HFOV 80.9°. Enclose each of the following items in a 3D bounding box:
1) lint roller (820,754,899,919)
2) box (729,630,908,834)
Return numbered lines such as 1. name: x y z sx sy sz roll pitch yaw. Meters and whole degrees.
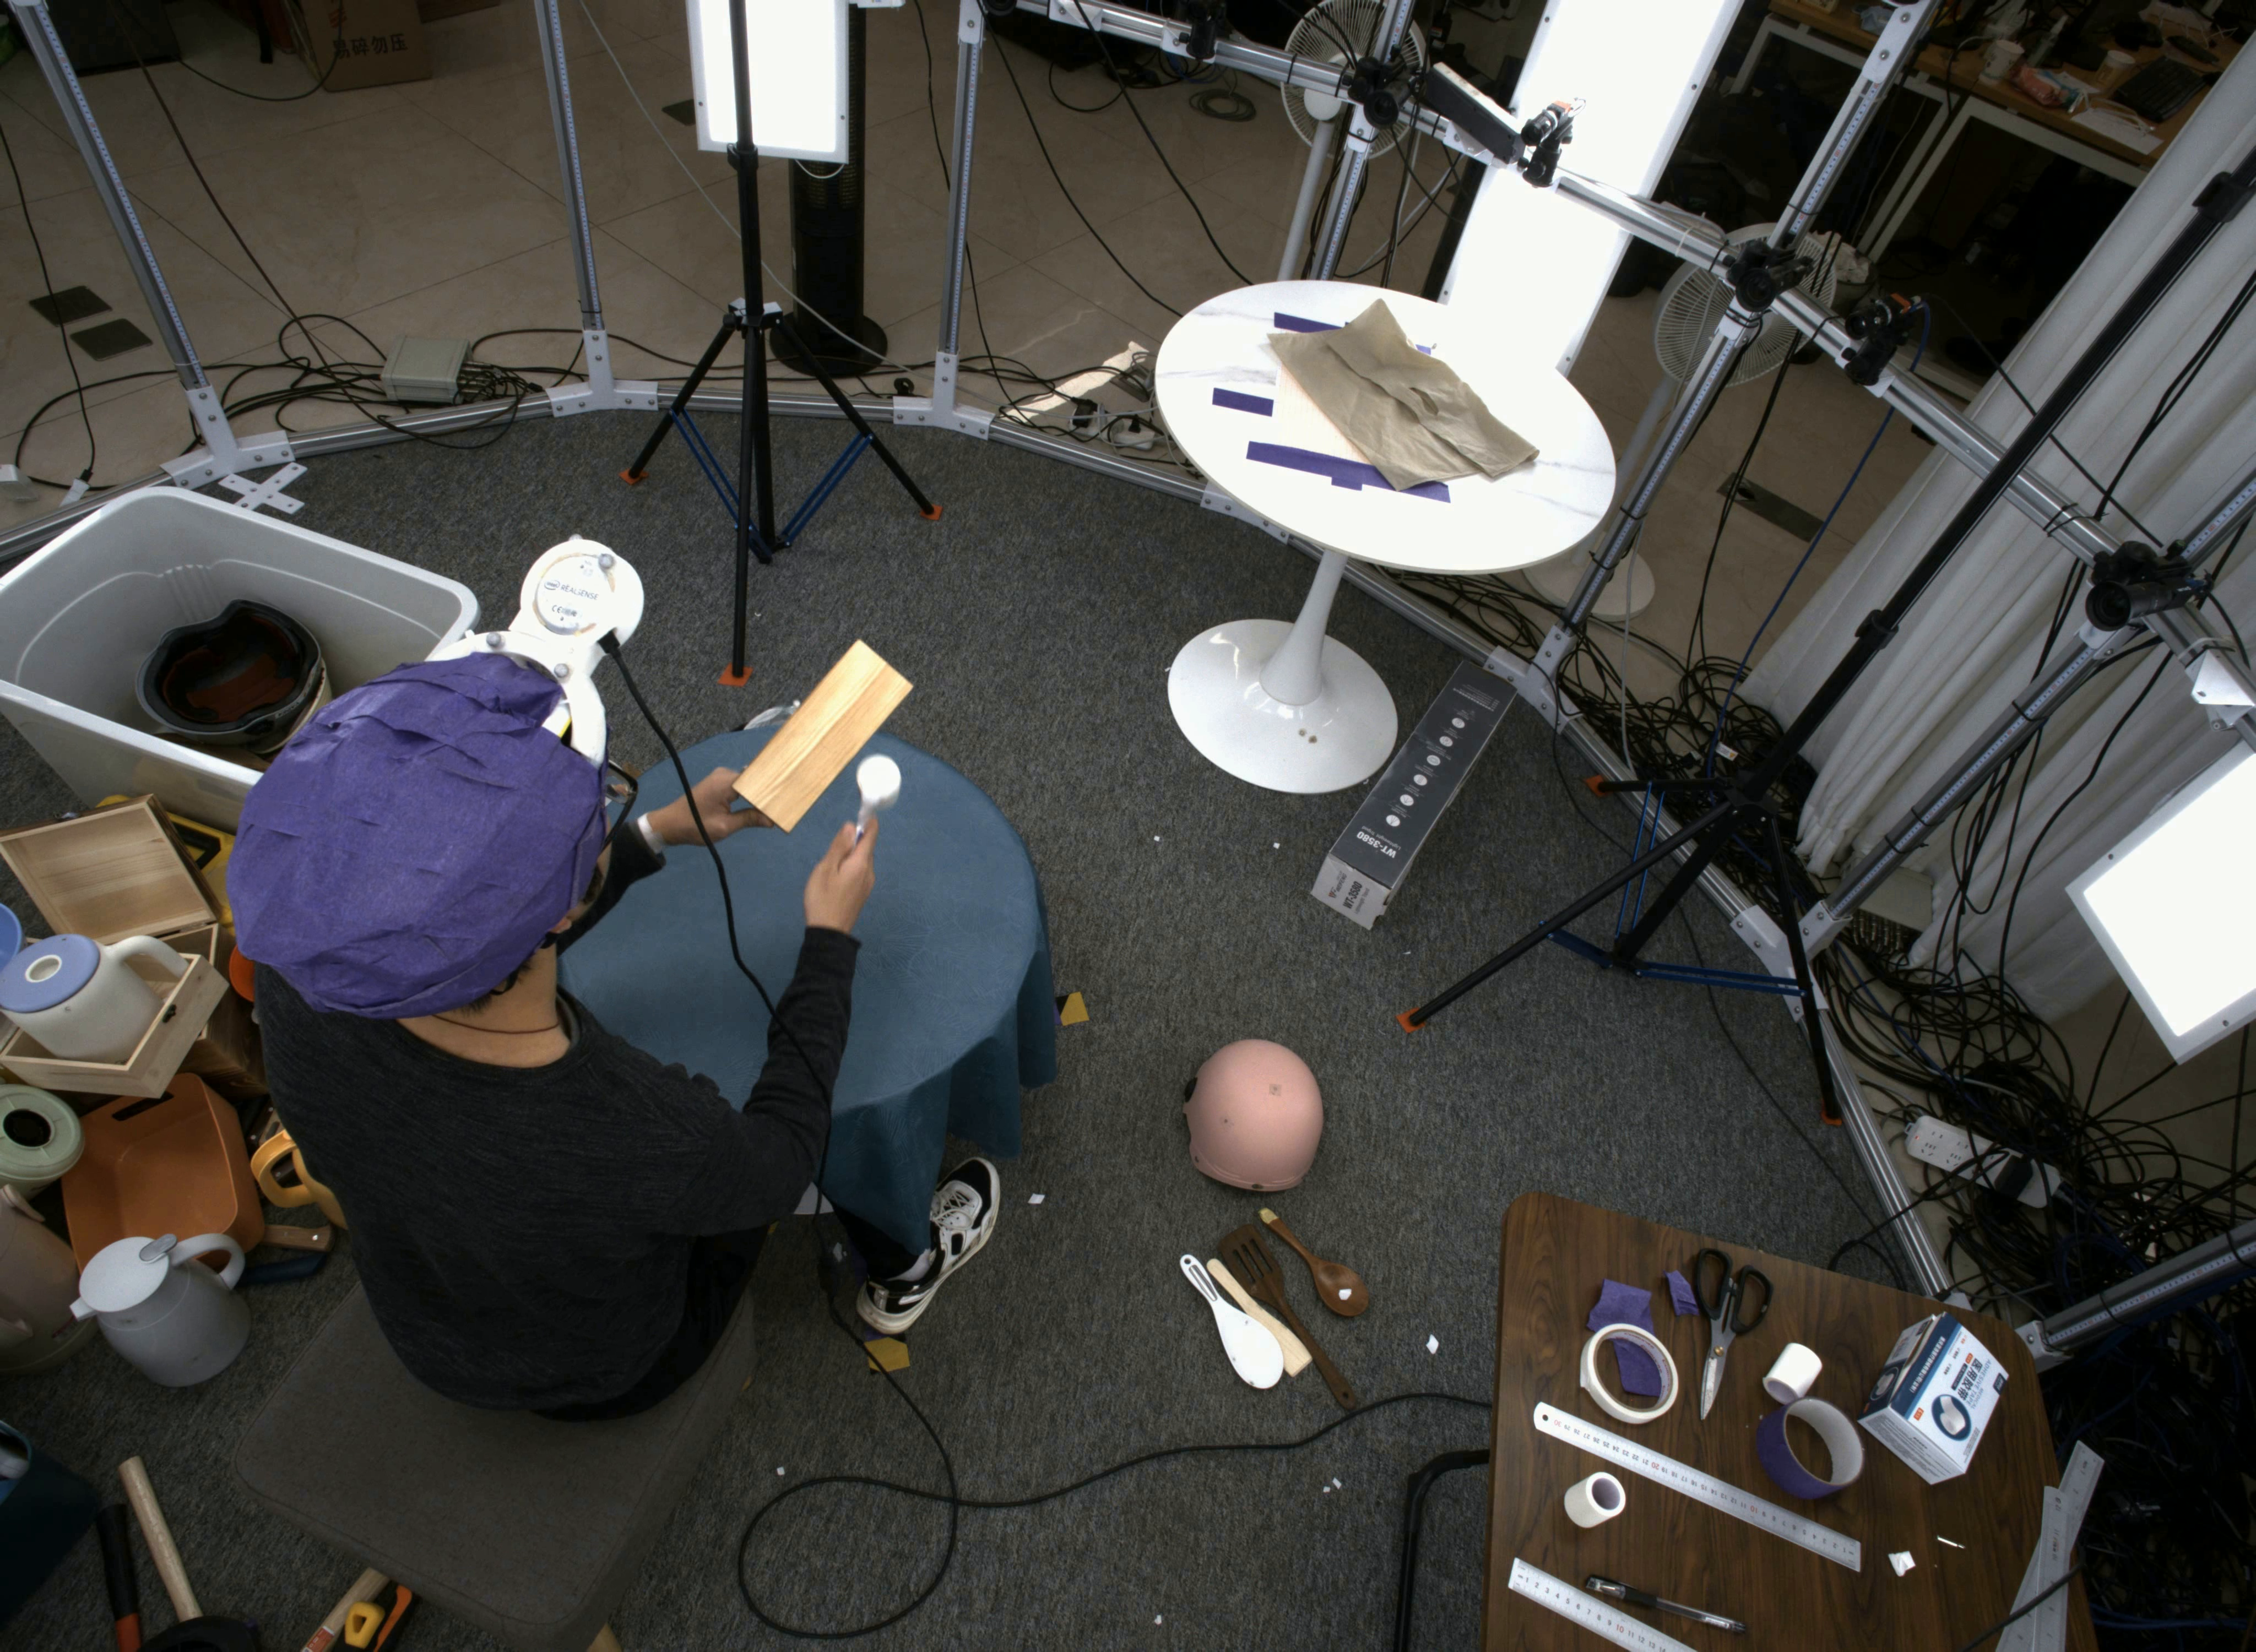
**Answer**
1. lint roller: -0.292 0.016 1.425 0.050 0.132 0.181 14 79 -10
2. box: -0.344 -0.102 1.439 0.081 0.106 0.211 39 78 -12
